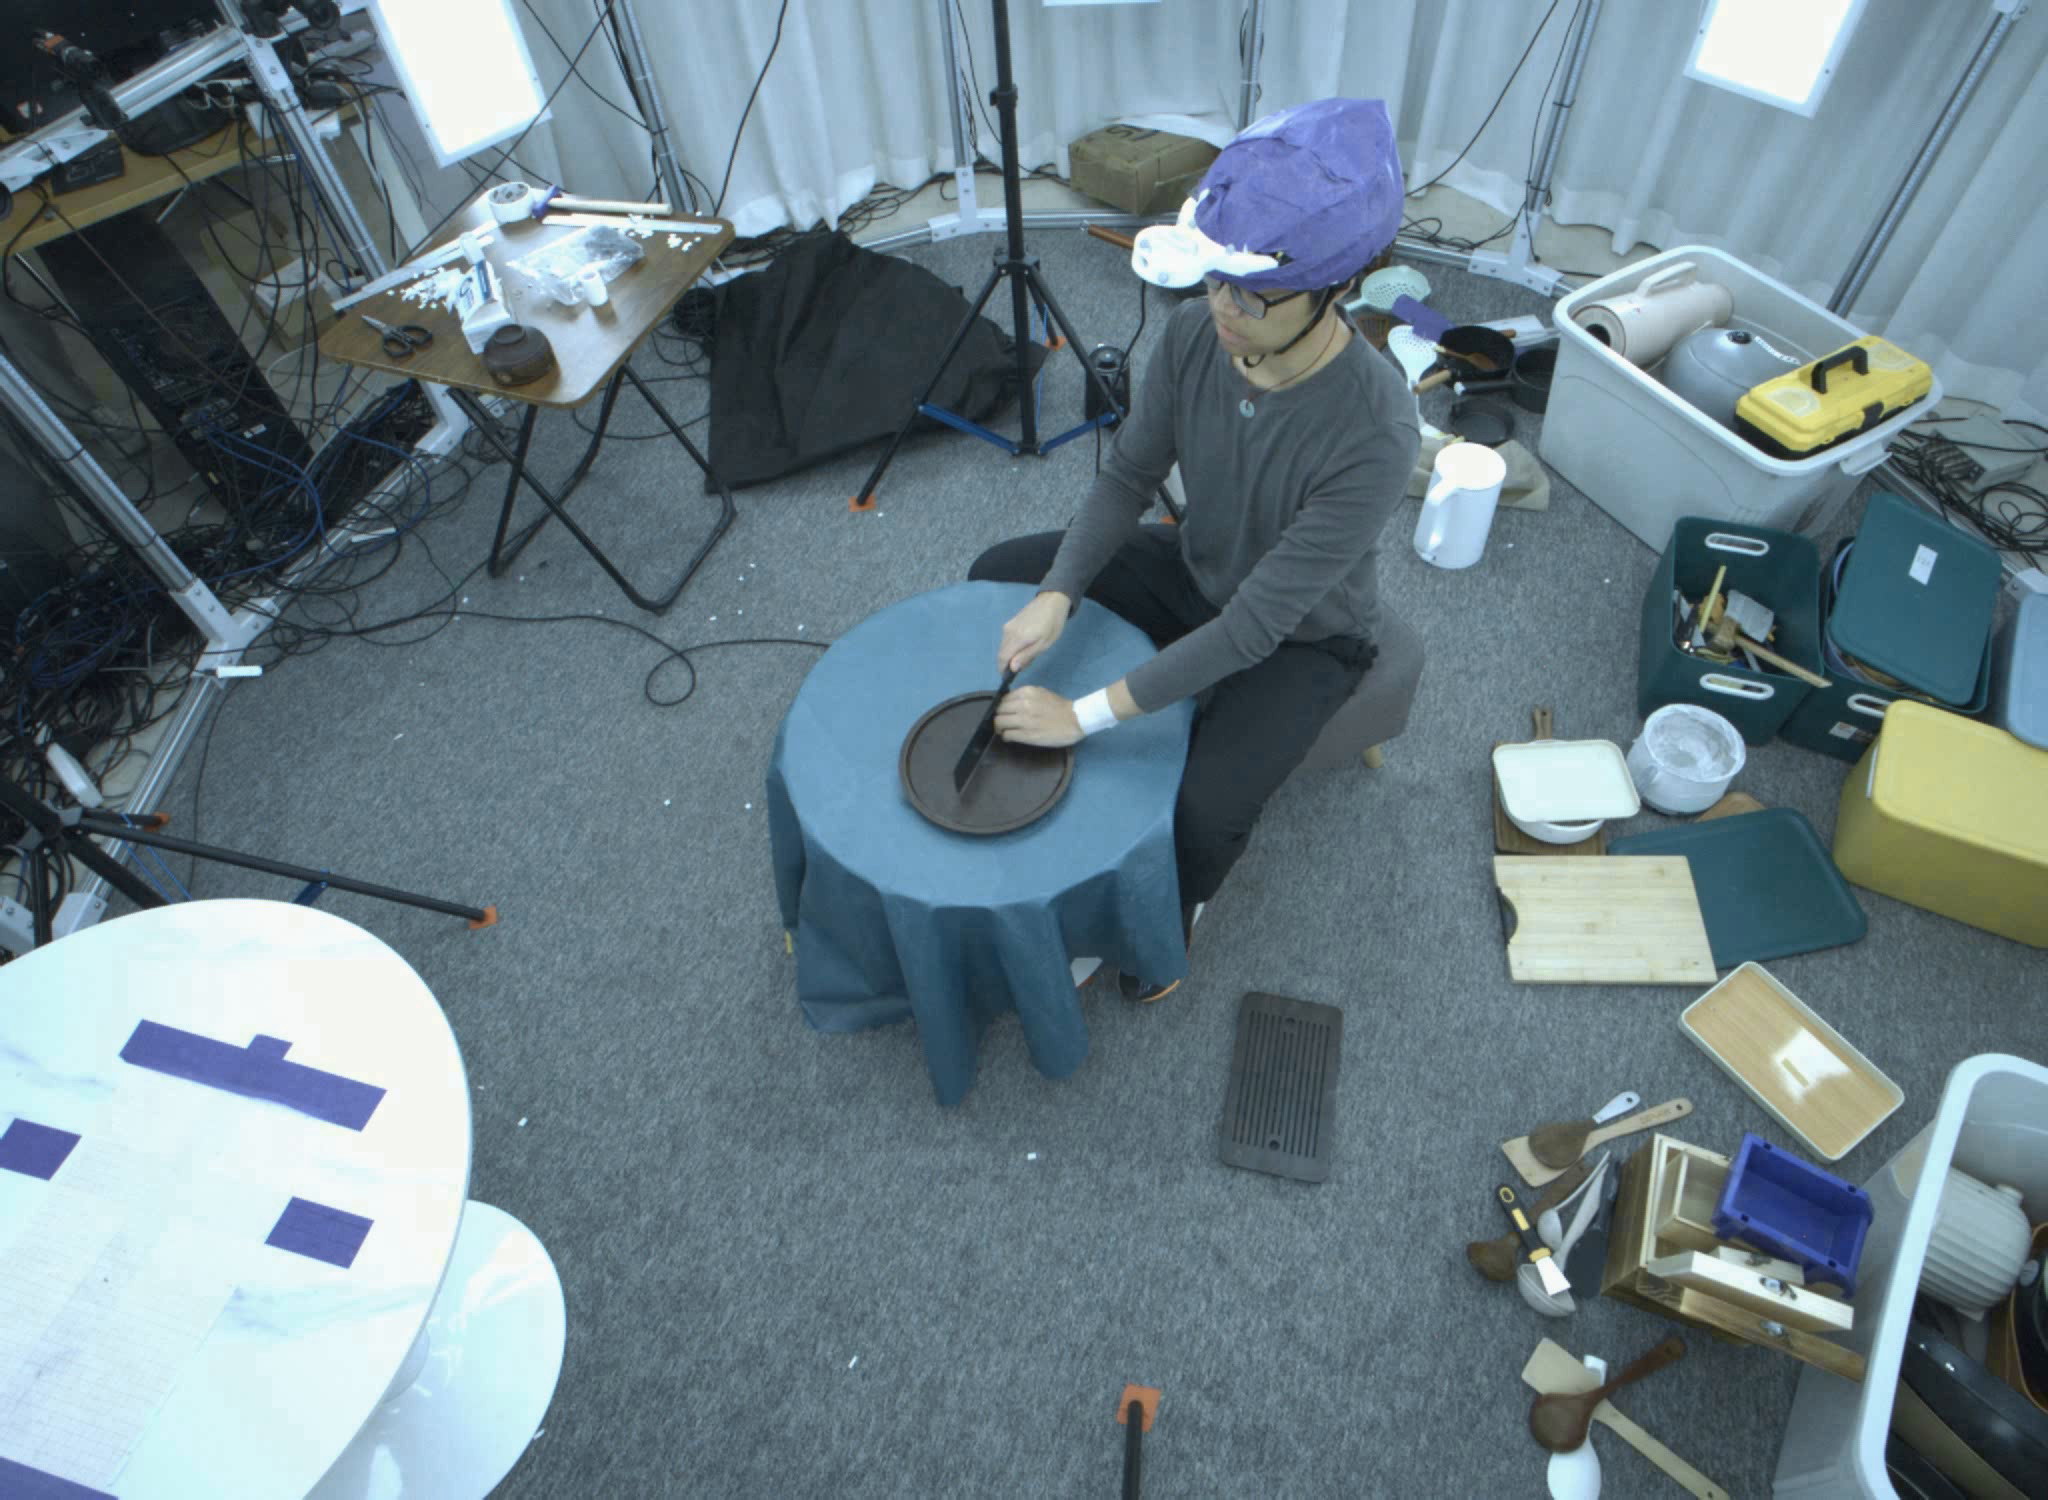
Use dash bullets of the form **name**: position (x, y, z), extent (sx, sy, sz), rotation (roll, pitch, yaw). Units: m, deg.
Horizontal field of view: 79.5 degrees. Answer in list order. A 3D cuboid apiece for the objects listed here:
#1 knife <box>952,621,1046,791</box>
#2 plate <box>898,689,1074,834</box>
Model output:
- **knife**: position (-0.035, -0.071, 1.776), extent (0.020, 0.082, 0.302), rotation (18, 62, 17)
- **plate**: position (-0.054, 0.015, 1.772), extent (0.254, 0.029, 0.252), rotation (-1, 54, 2)
